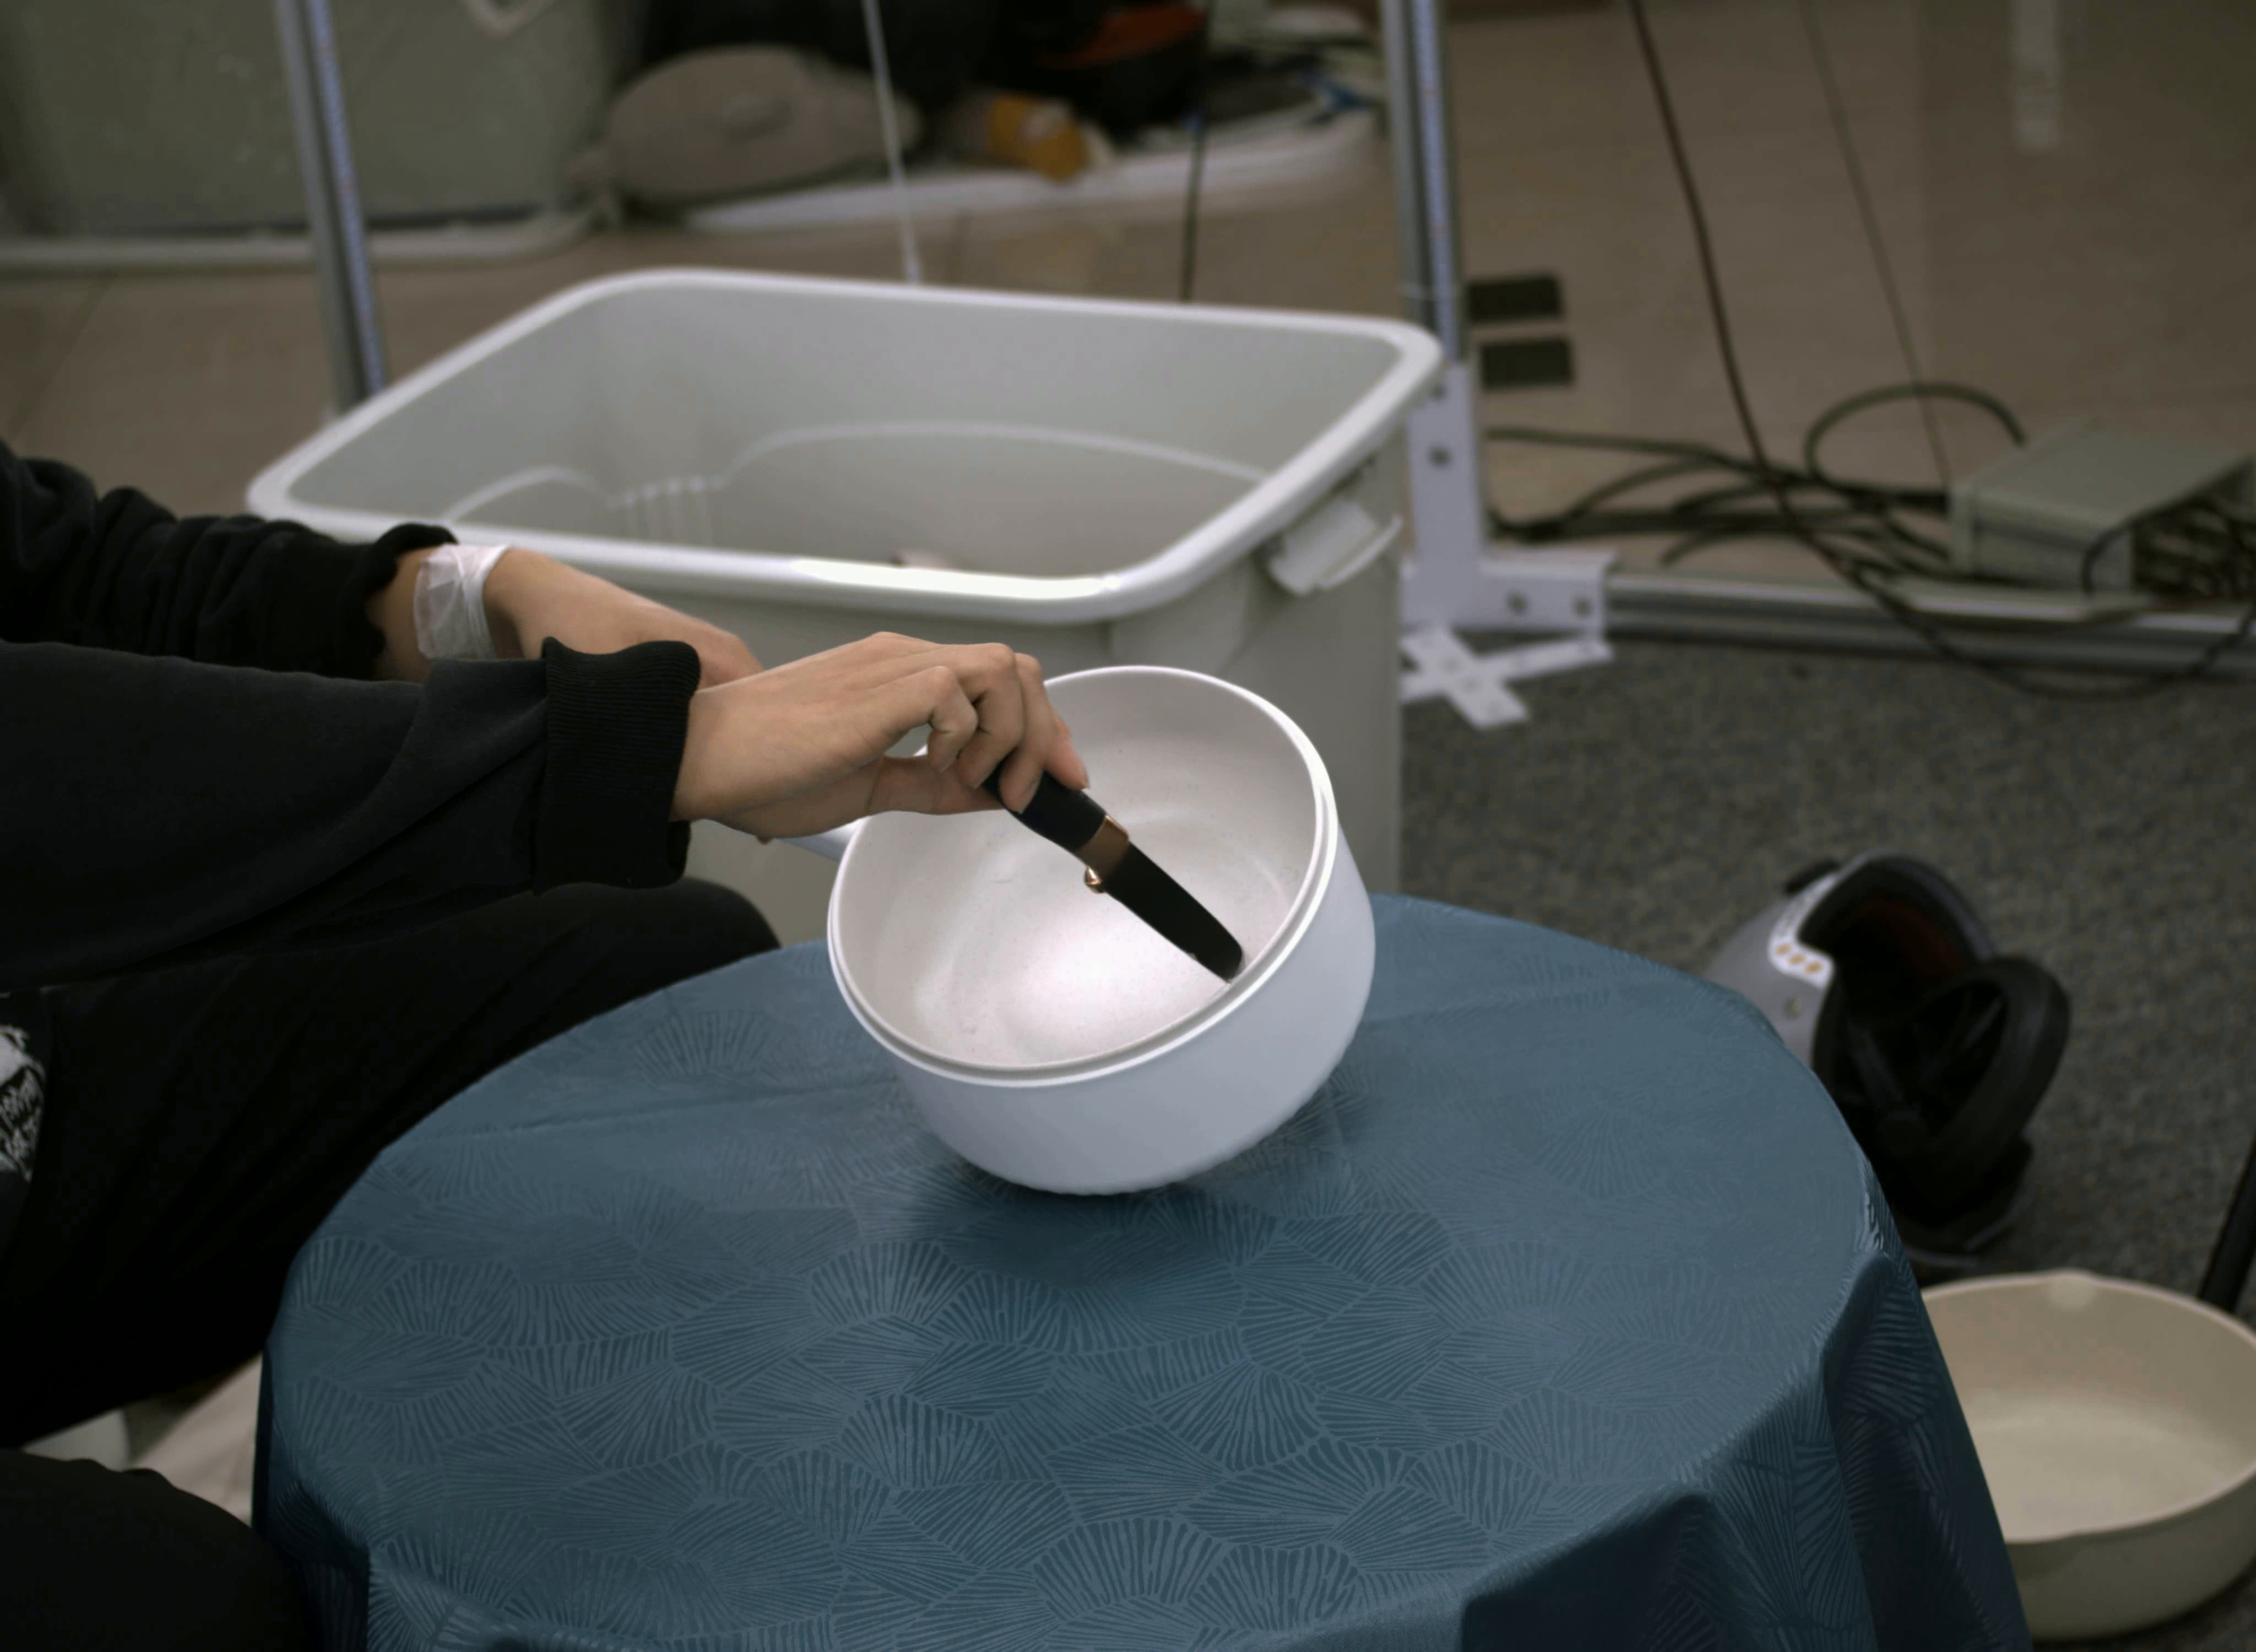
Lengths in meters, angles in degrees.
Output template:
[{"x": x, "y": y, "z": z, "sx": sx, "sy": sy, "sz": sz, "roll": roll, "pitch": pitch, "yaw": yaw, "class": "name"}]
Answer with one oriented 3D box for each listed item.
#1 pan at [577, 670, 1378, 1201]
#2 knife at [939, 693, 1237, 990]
[{"x": -0.064, "y": 0.027, "z": 2.213, "sx": 0.352, "sy": 0.104, "sz": 0.199, "roll": 19, "pitch": 63, "yaw": 34, "class": "pan"}, {"x": -0.005, "y": 0.014, "z": 2.039, "sx": 0.017, "sy": 0.228, "sz": 0.026, "roll": -1, "pitch": 62, "yaw": 34, "class": "knife"}]
